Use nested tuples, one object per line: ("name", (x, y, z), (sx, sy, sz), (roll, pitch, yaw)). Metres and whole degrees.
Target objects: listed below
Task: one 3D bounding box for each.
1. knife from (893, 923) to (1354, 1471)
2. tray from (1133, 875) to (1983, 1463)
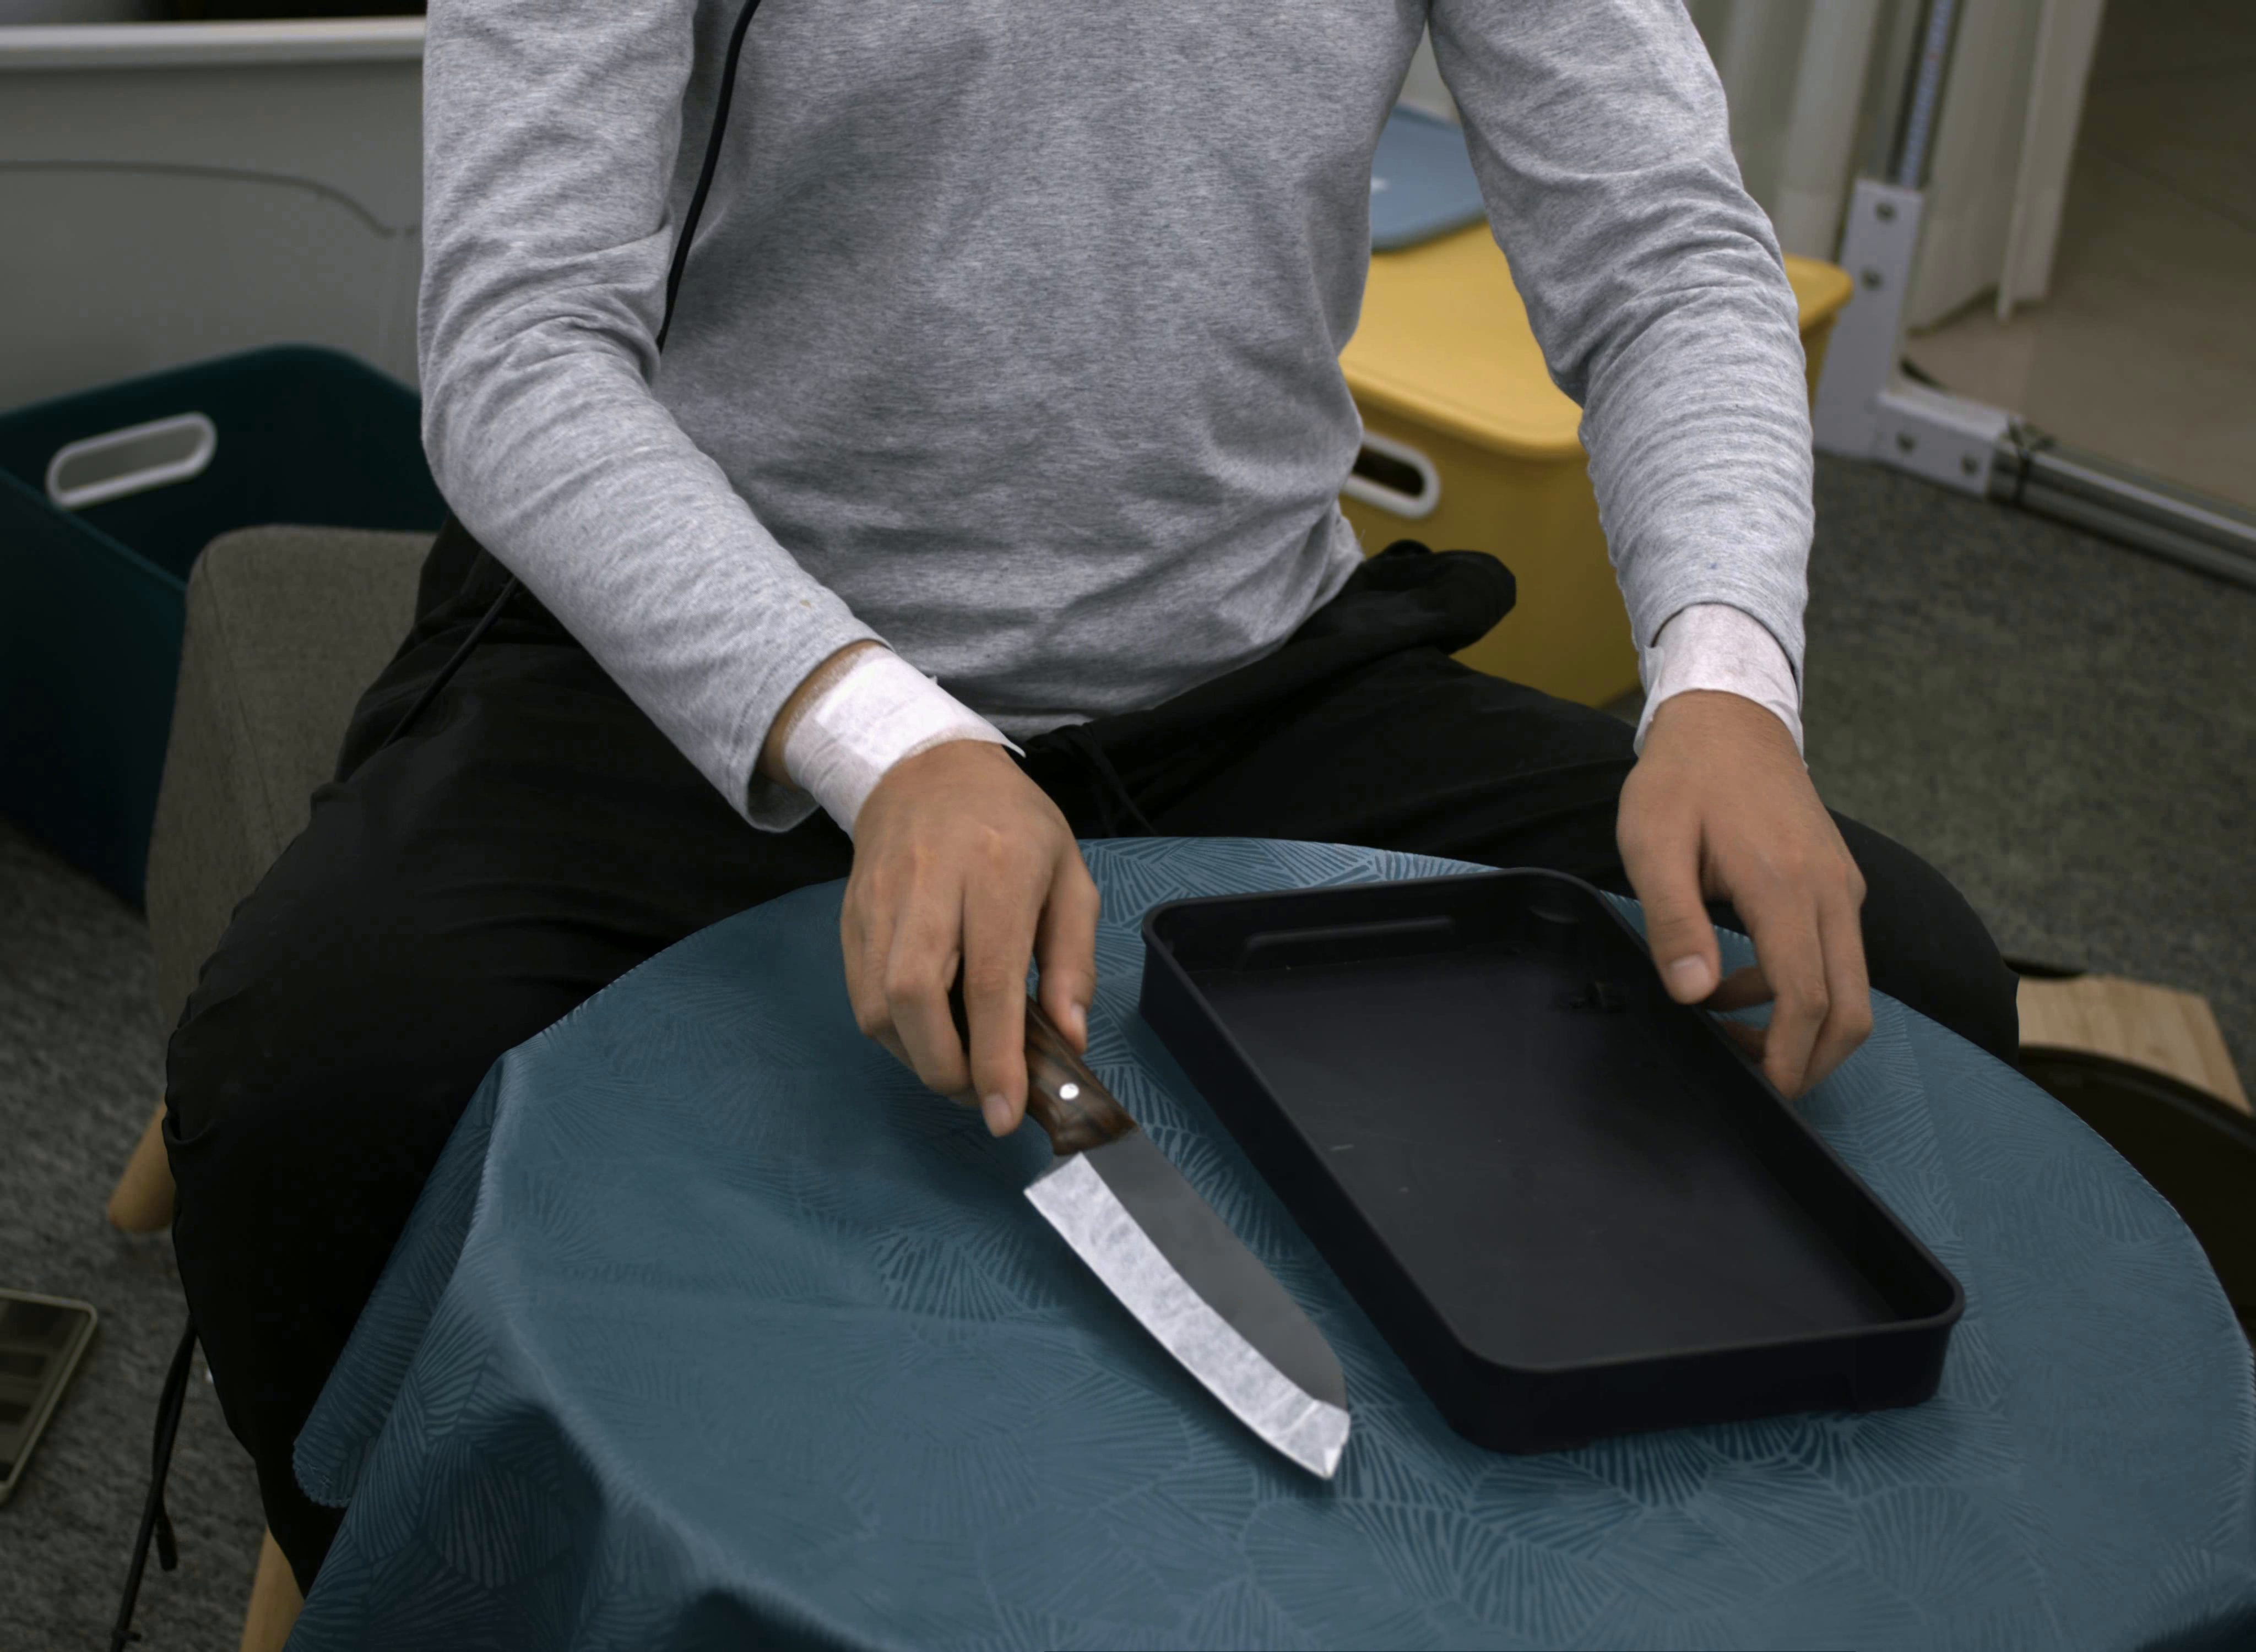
("knife", (-0.004, 0.119, 1.745), (0.050, 0.020, 0.292), (-33, 46, -9))
("tray", (0.139, 0.111, 1.824), (0.183, 0.037, 0.321), (-5, 28, -23))
